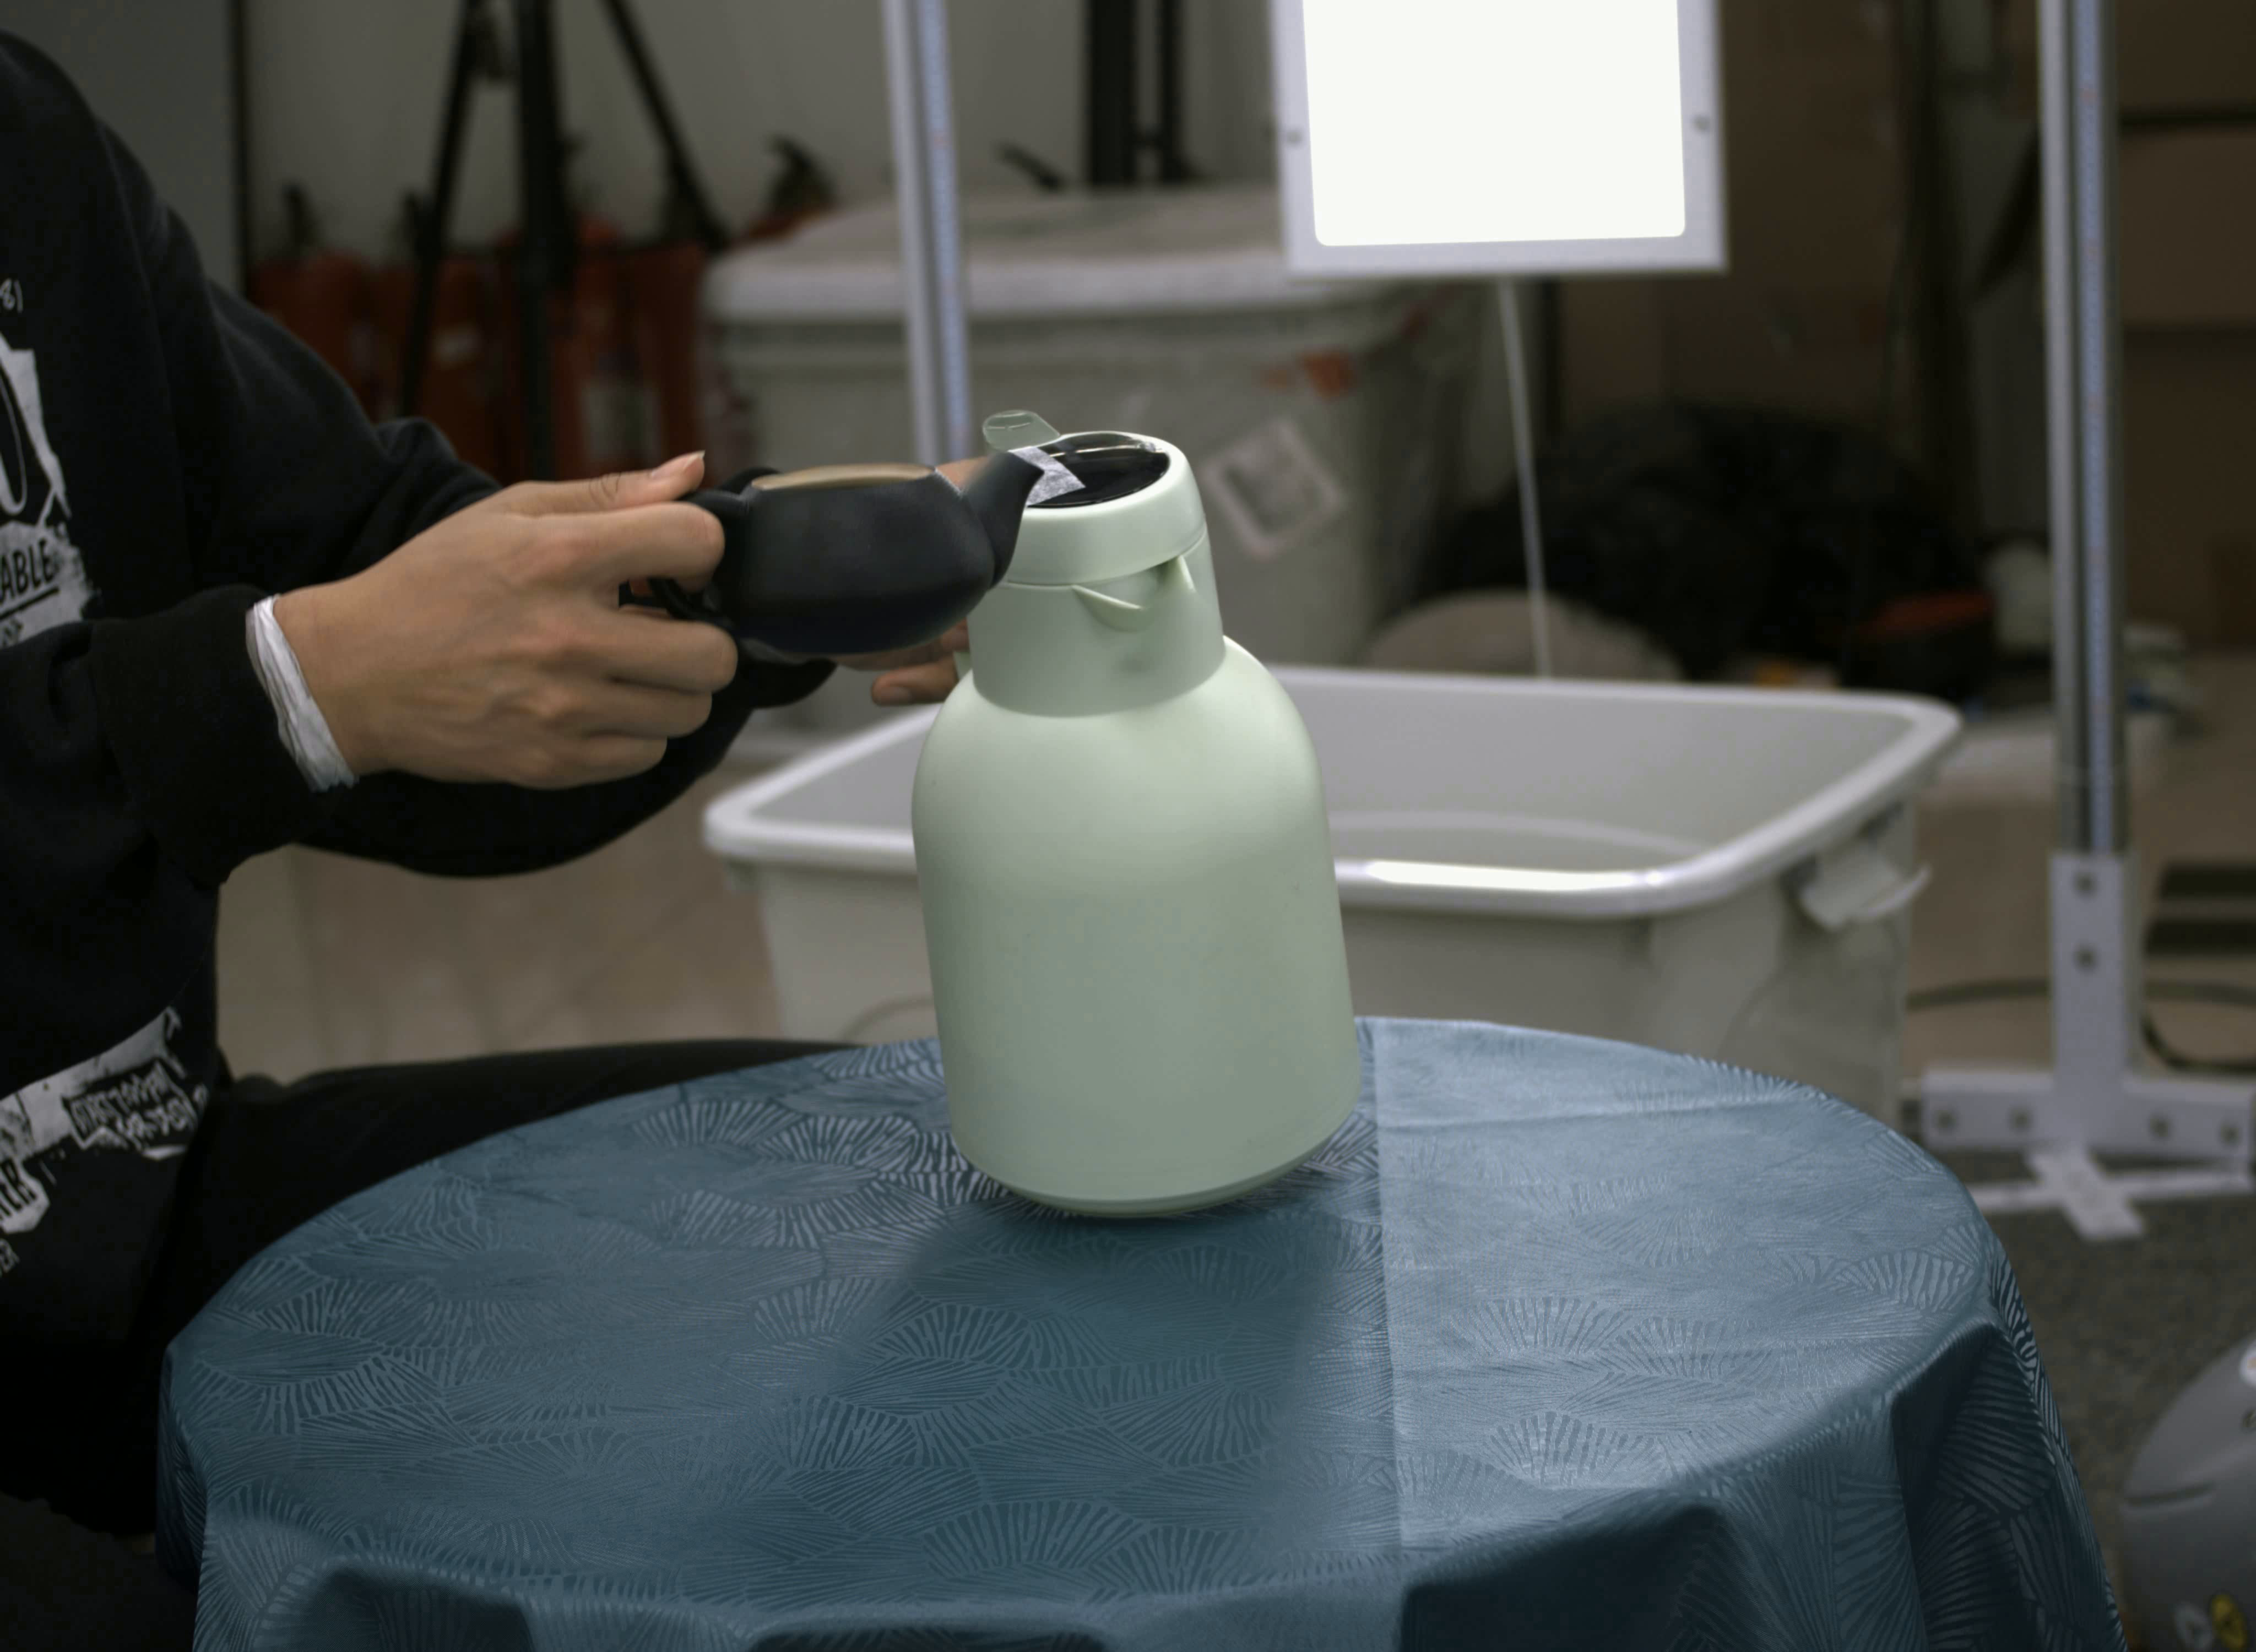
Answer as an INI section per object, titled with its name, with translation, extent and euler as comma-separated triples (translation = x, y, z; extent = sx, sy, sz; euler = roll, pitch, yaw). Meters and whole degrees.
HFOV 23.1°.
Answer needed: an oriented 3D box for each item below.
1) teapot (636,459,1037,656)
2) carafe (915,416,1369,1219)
[teapot]
translation = -0.089, -0.083, 1.722
extent = 0.131, 0.053, 0.092
euler = -7, 9, -19
[carafe]
translation = -0.008, -0.010, 1.883
extent = 0.142, 0.257, 0.189
euler = -17, 23, -18
